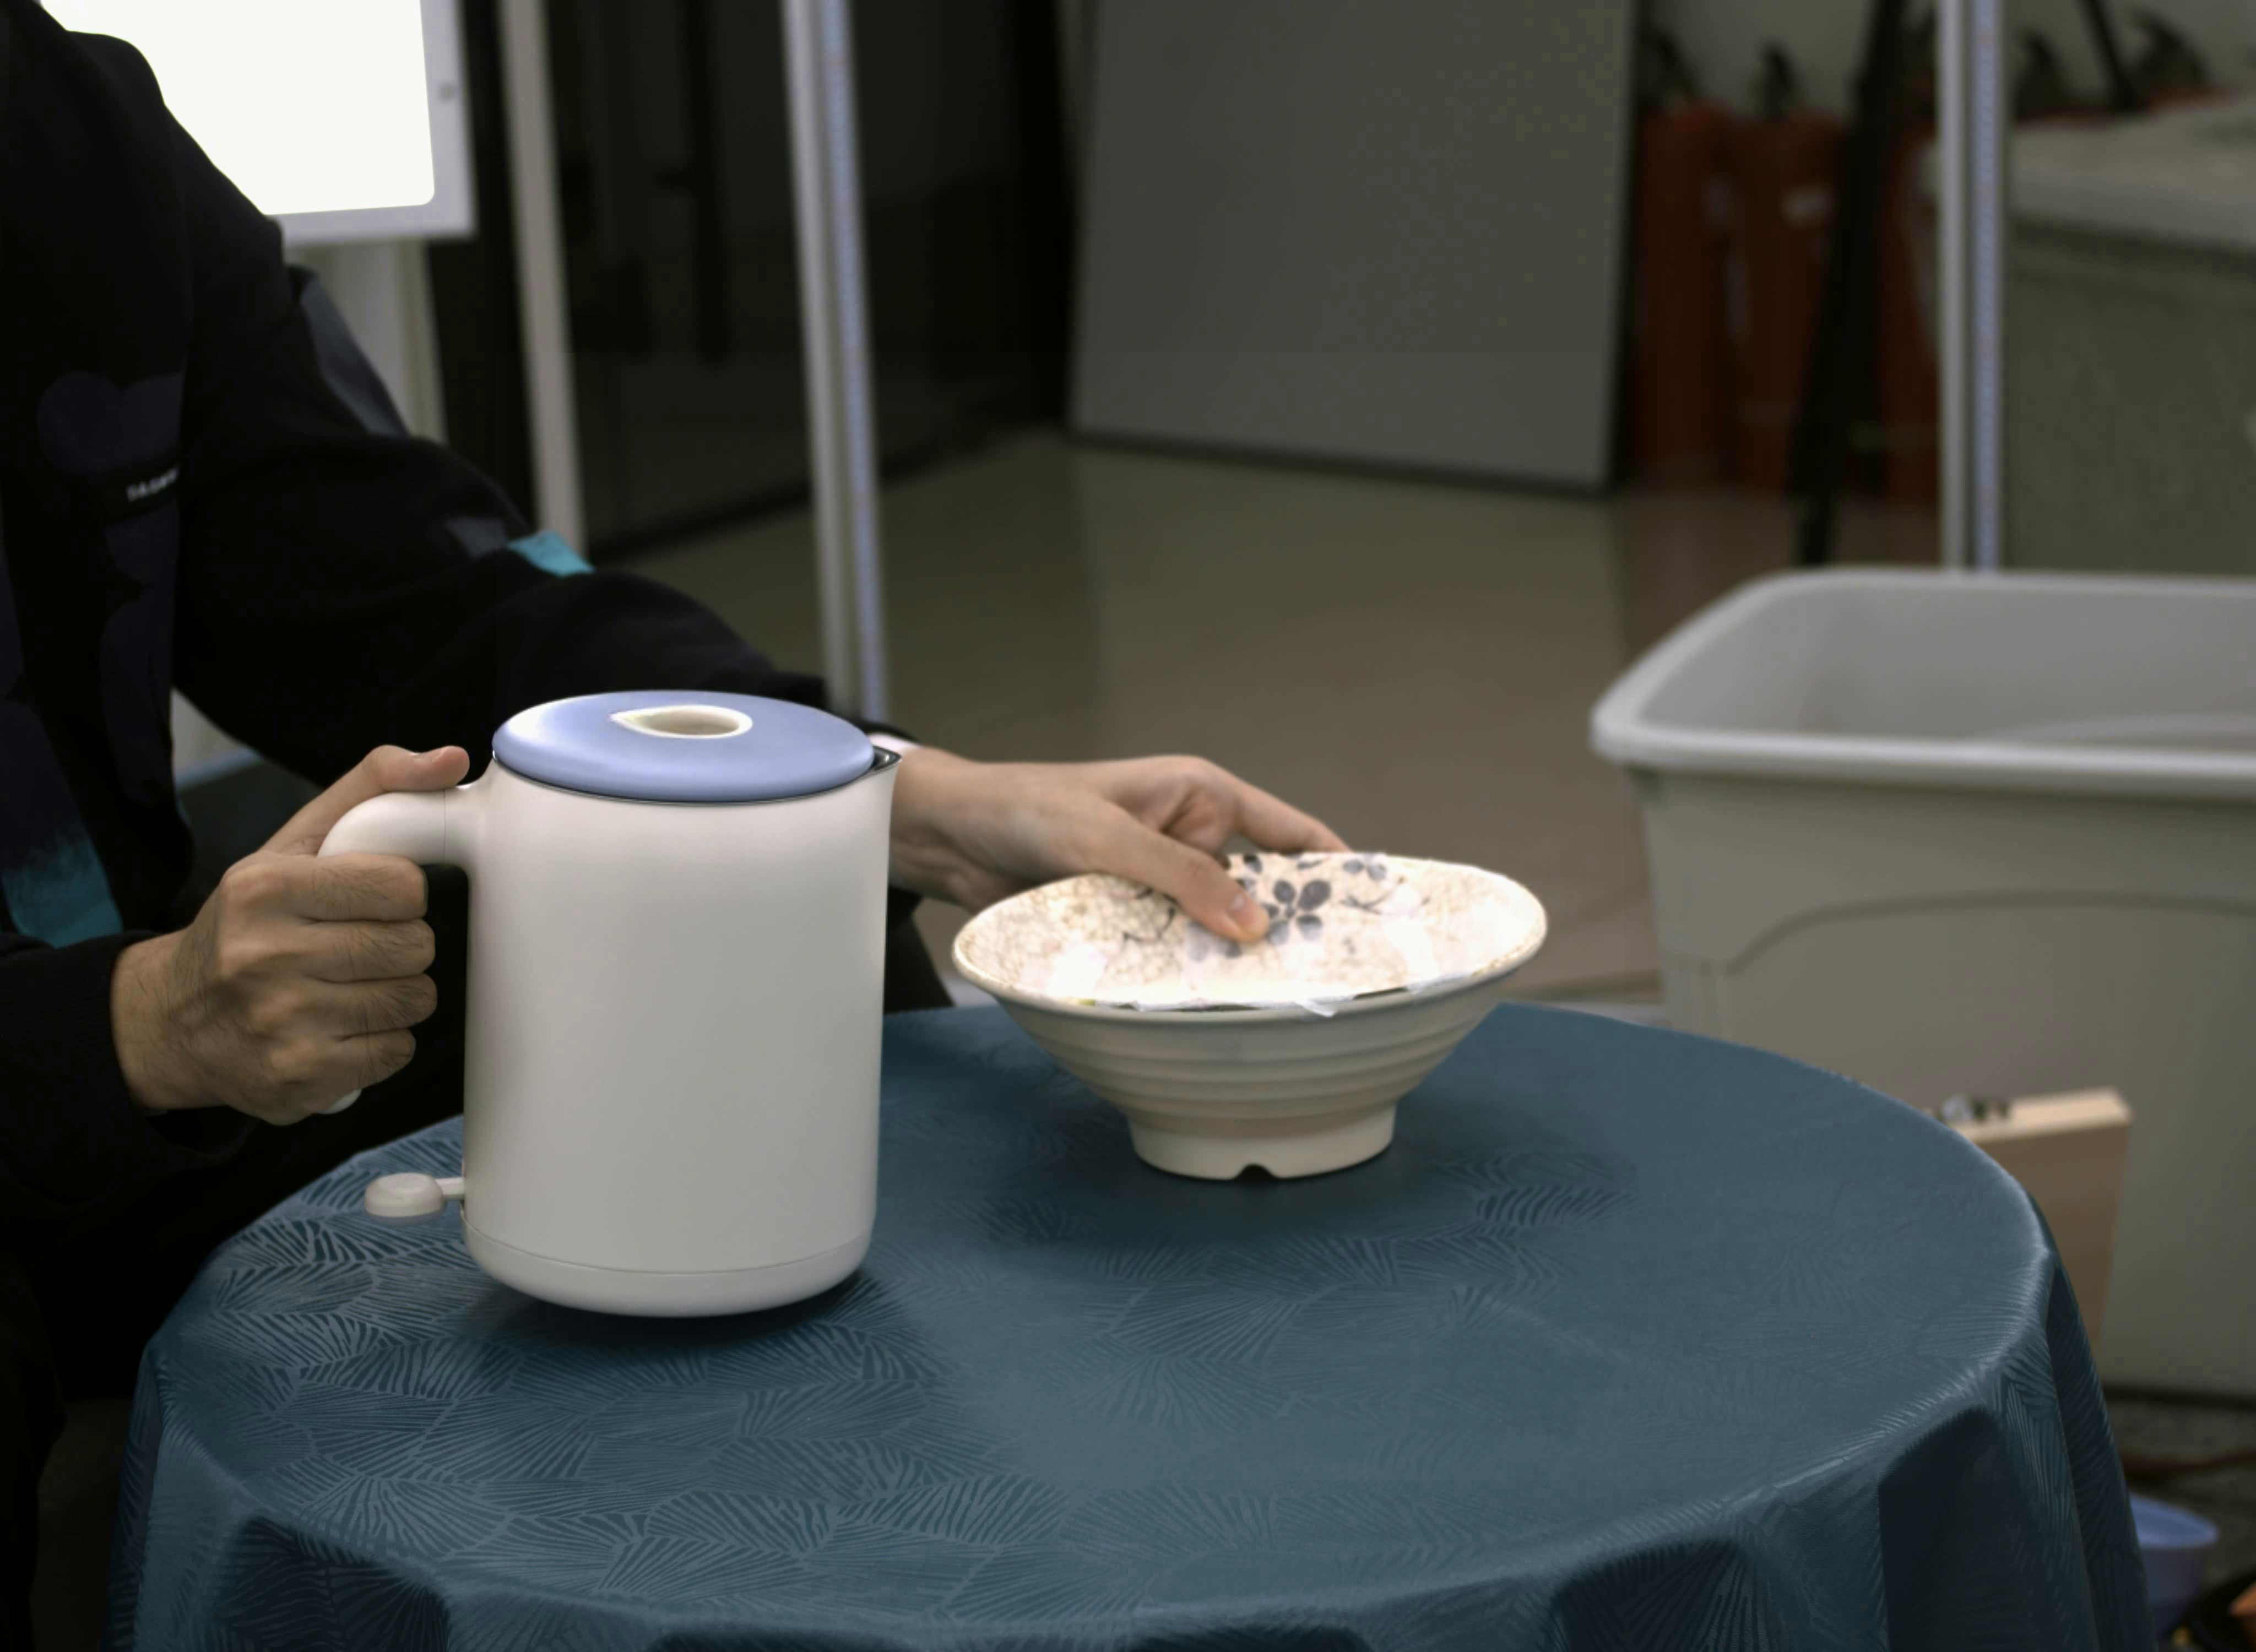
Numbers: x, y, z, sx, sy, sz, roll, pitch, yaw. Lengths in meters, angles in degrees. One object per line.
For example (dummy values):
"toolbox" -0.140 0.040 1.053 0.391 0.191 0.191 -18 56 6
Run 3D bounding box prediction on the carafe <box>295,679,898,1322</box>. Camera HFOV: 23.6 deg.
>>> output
"carafe" -0.163 0.054 1.675 0.187 0.184 0.133 -3 13 -10

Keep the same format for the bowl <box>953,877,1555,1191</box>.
"bowl" 0.045 0.073 1.798 0.201 0.079 0.204 -6 9 0
